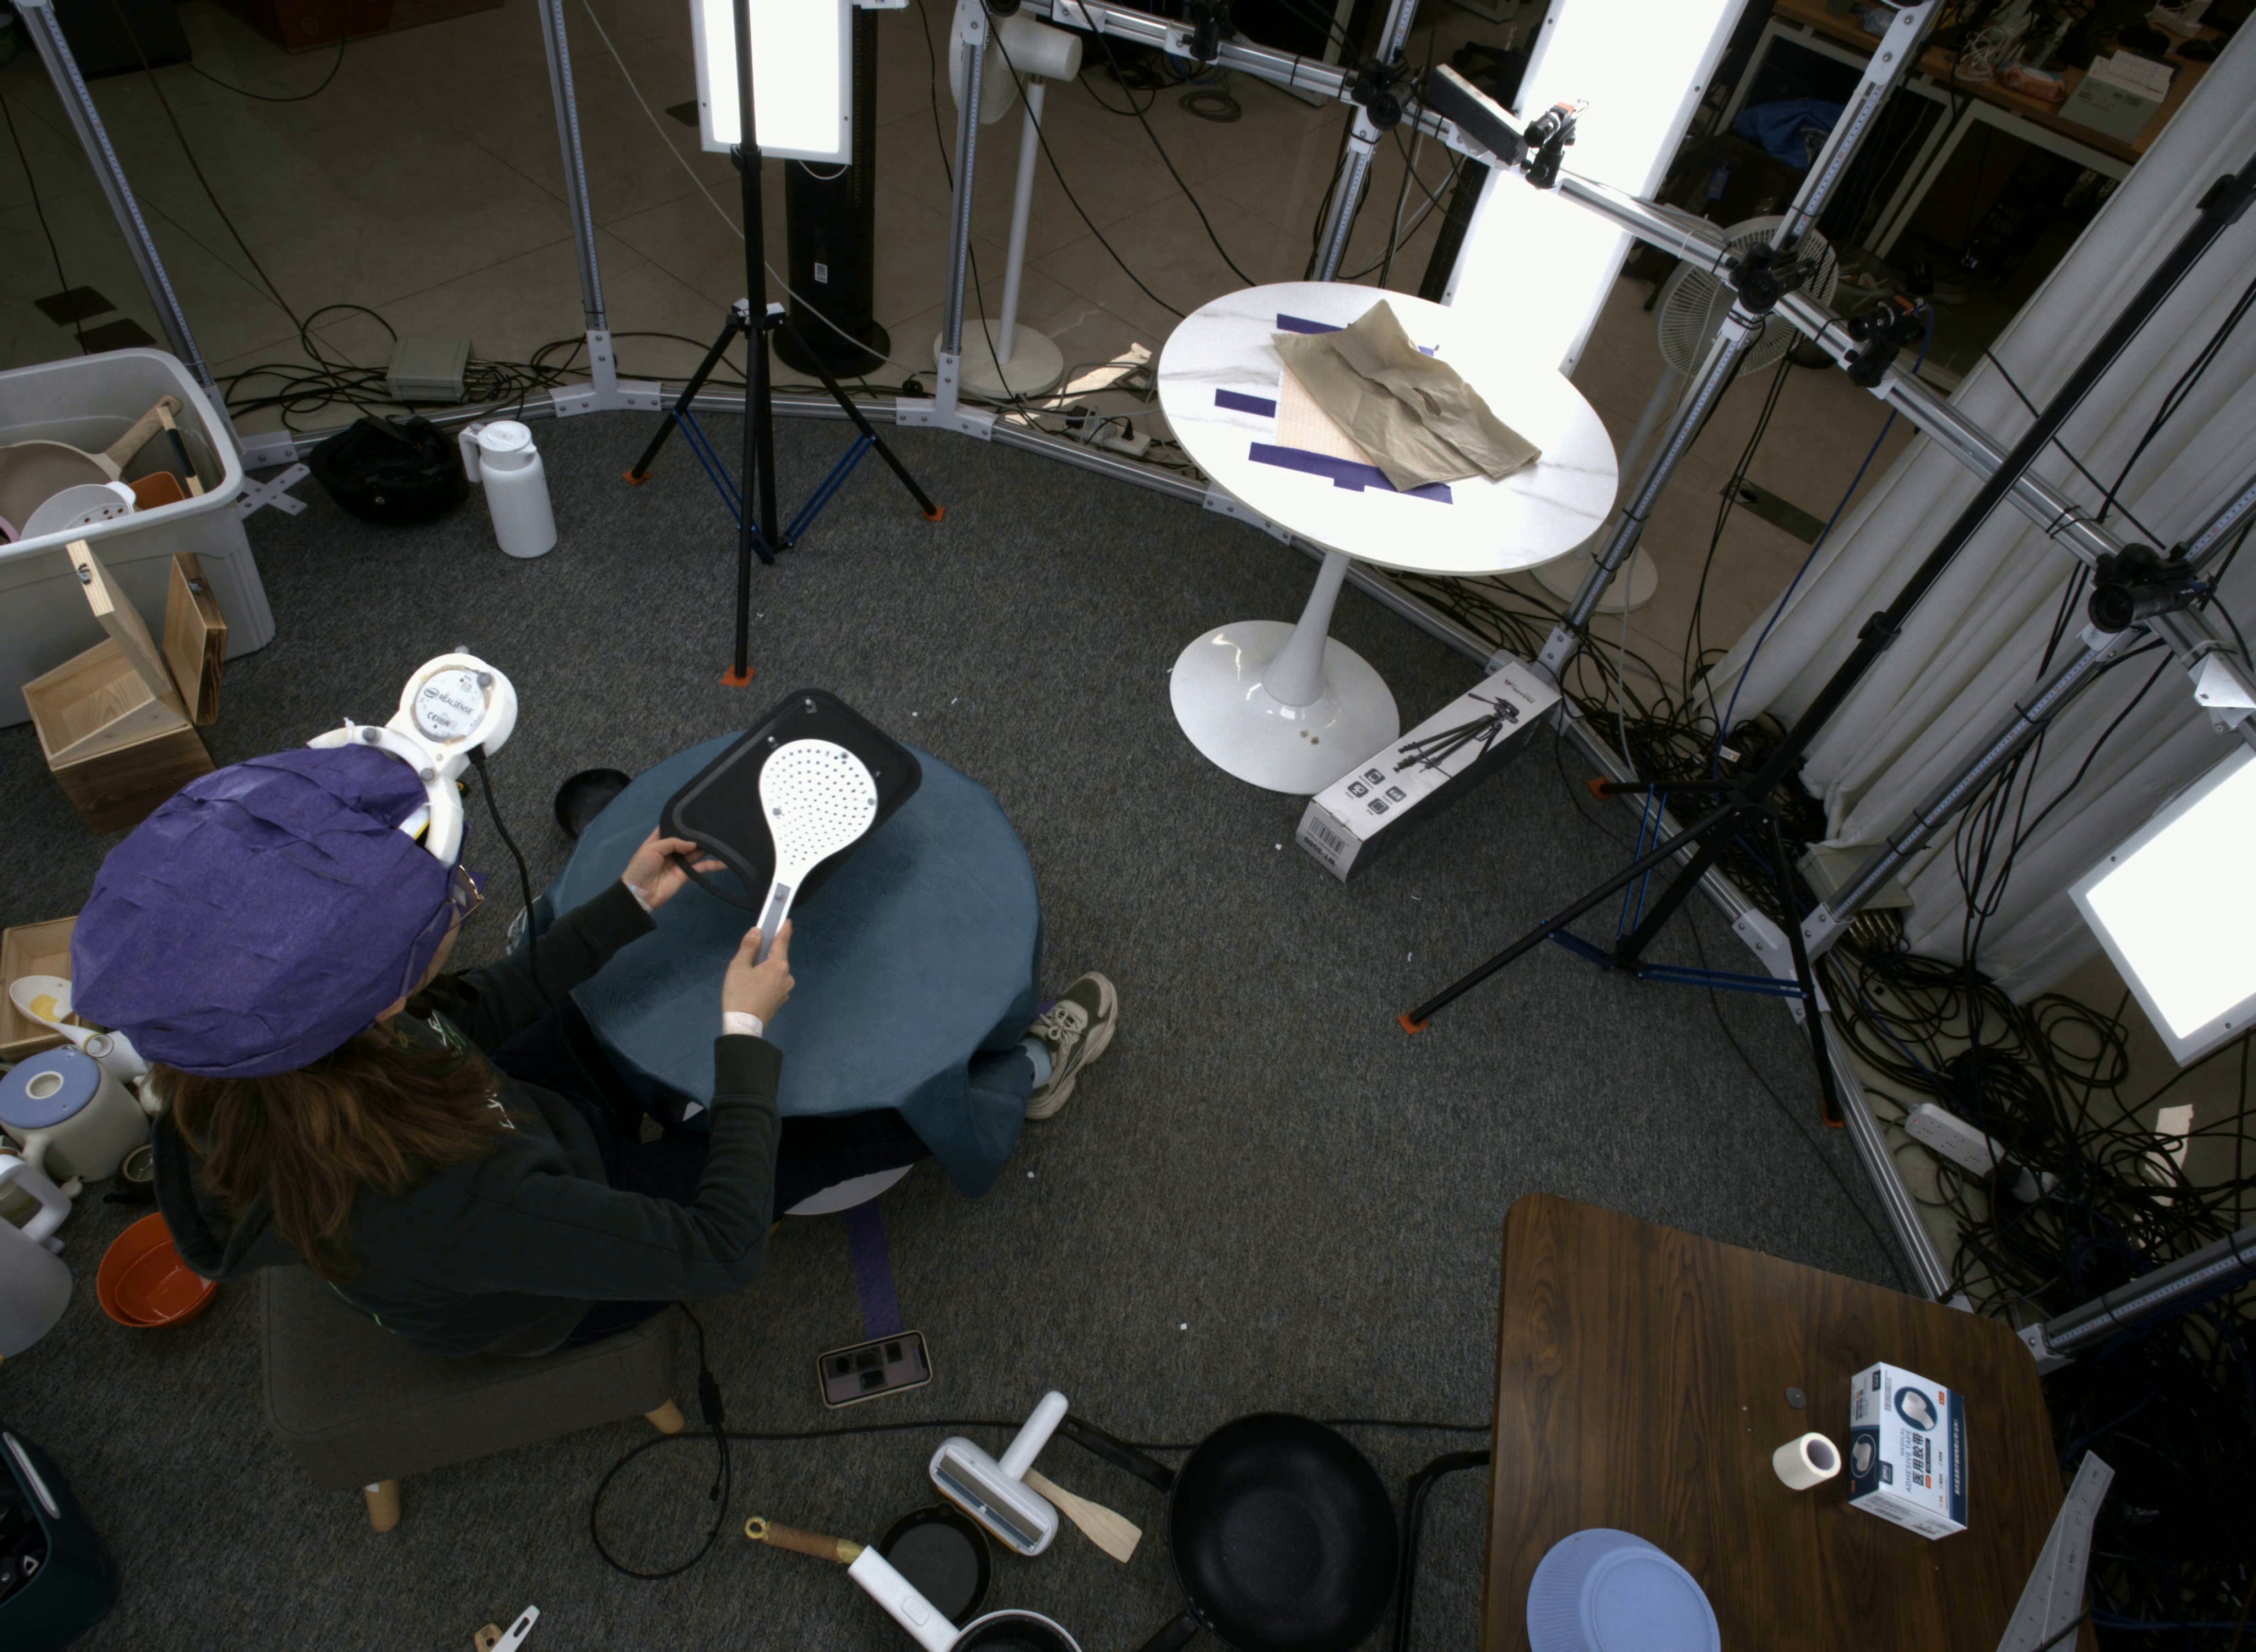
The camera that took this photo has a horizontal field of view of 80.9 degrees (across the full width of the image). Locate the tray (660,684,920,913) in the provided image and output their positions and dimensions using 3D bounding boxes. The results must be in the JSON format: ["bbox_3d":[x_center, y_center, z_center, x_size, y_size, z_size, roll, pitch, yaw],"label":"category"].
[{"bbox_3d":[-0.417,-0.037,1.601,0.210,0.010,0.324,38,54,1],"label":"tray"}]

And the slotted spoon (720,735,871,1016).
[{"bbox_3d":[-0.382,0.048,1.437,0.138,0.045,0.345,24,52,-19],"label":"slotted spoon"}]
